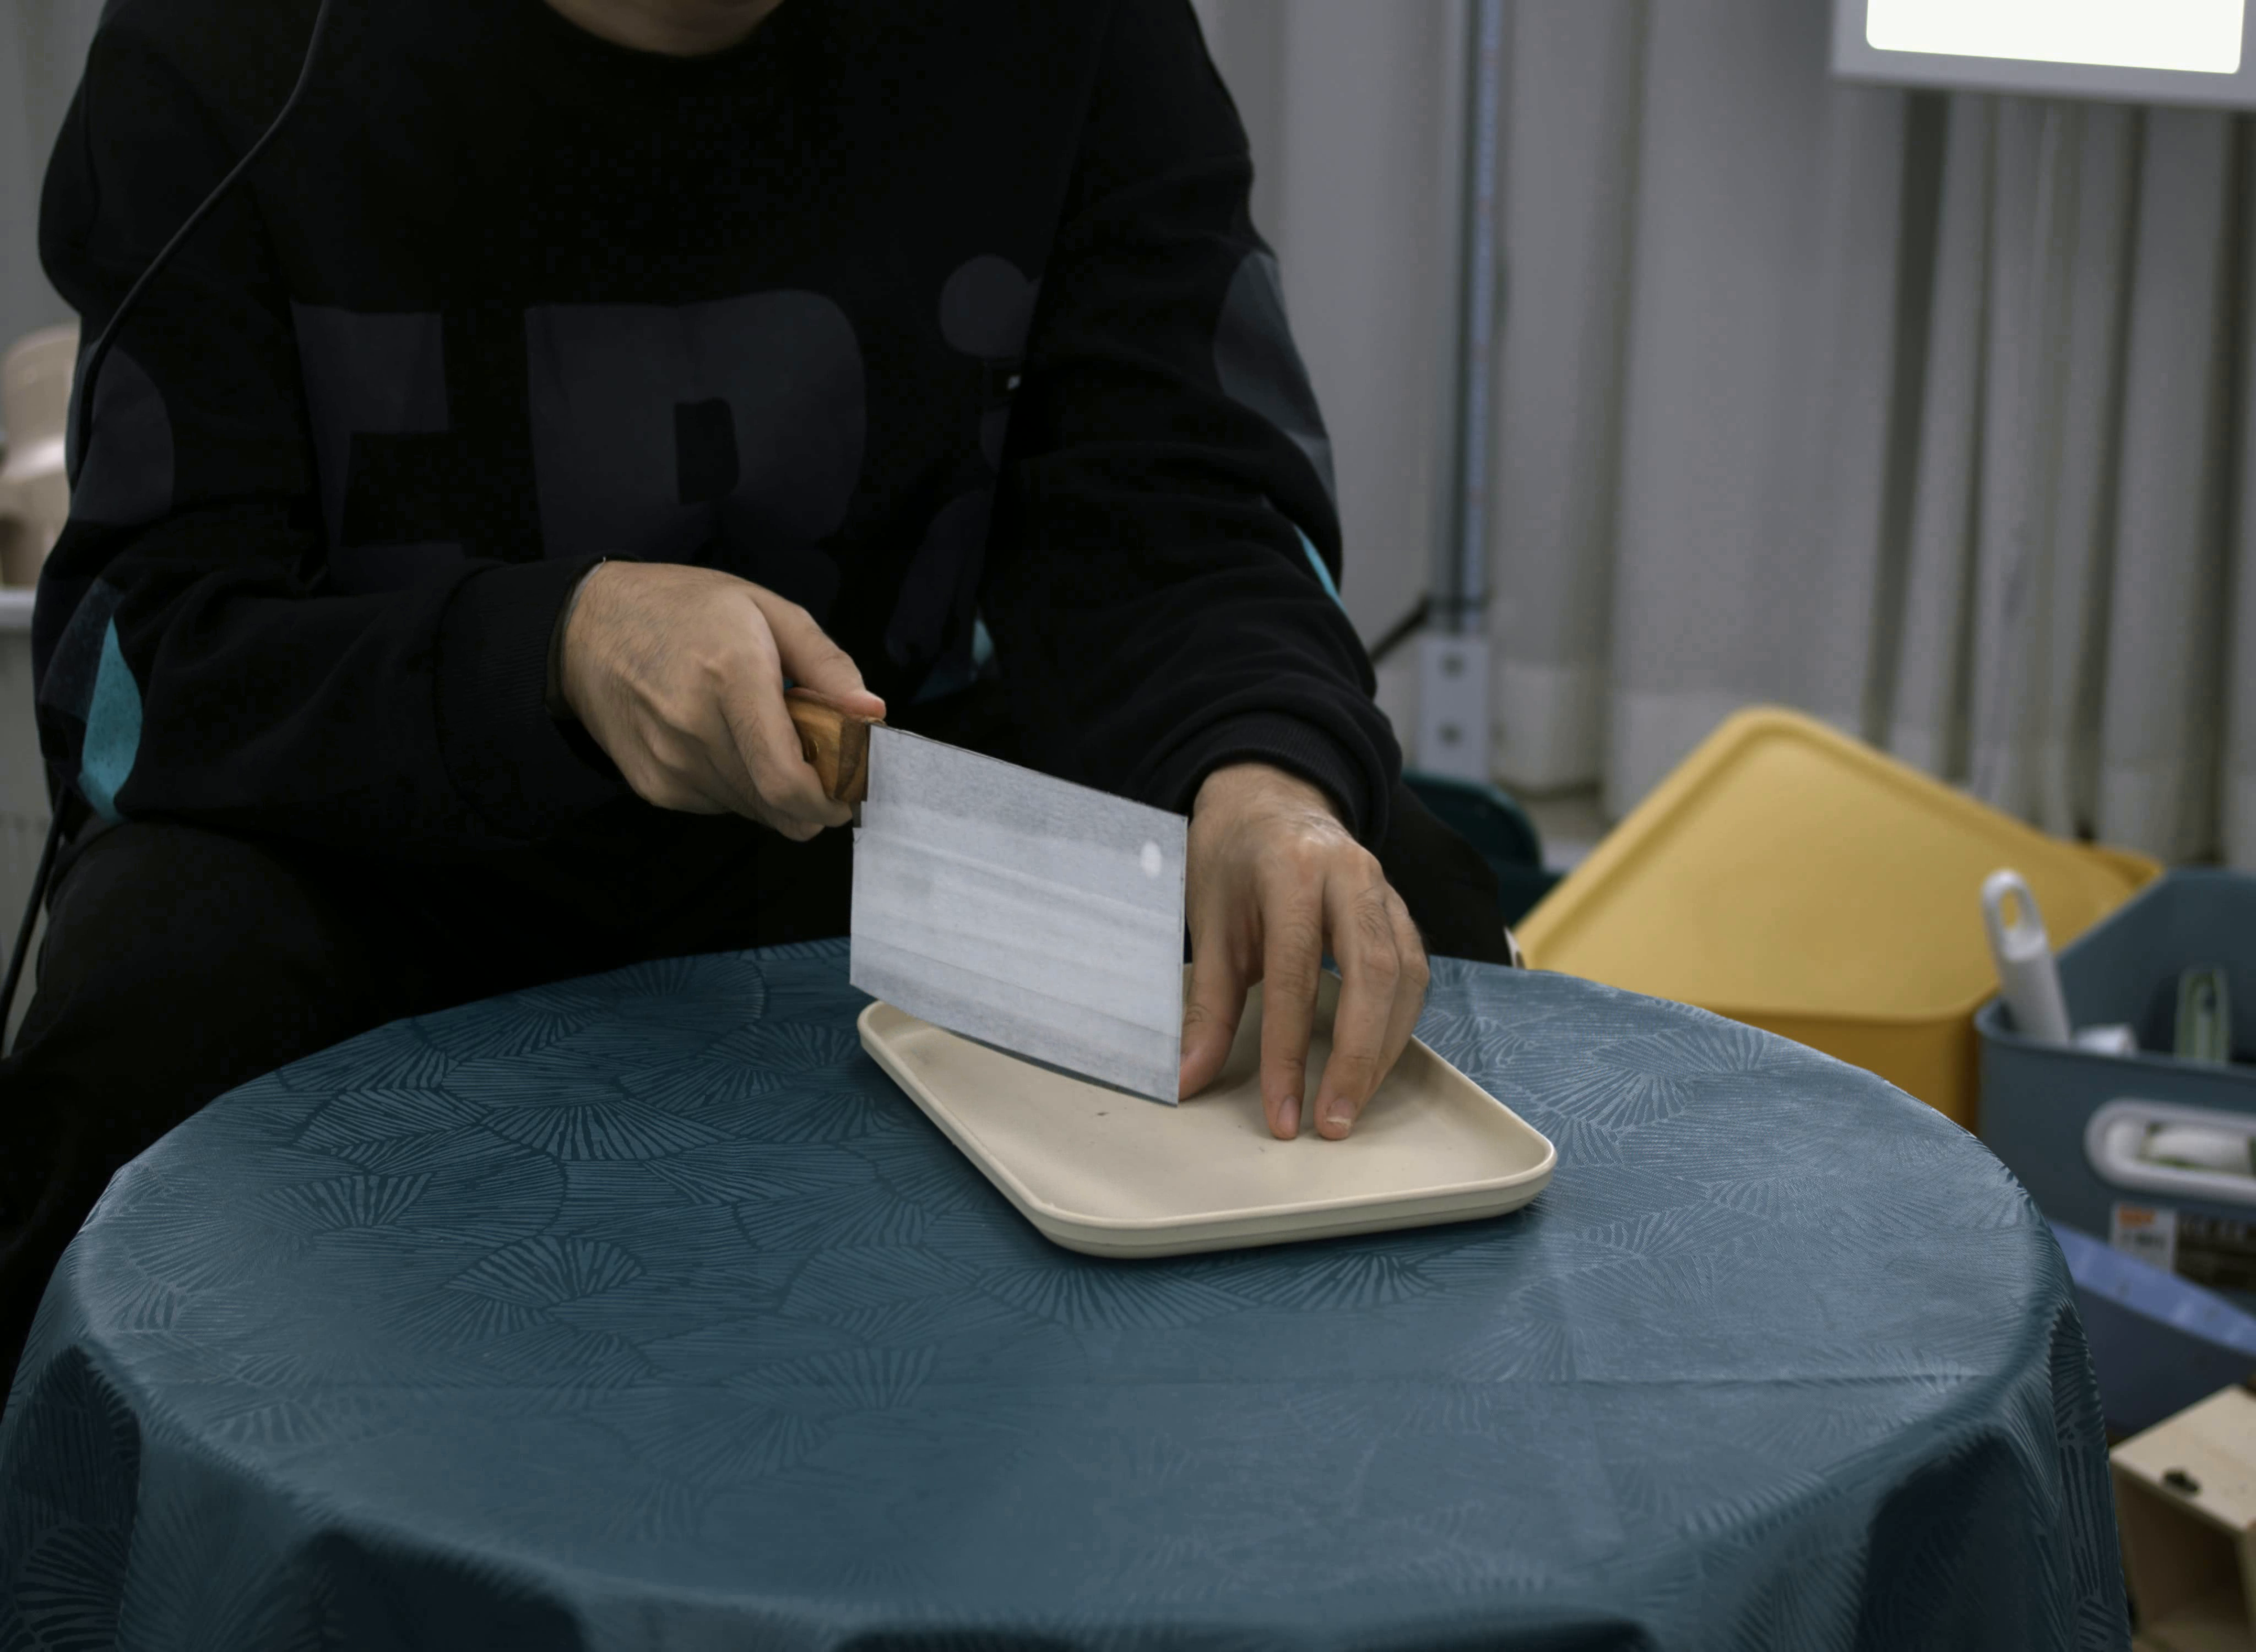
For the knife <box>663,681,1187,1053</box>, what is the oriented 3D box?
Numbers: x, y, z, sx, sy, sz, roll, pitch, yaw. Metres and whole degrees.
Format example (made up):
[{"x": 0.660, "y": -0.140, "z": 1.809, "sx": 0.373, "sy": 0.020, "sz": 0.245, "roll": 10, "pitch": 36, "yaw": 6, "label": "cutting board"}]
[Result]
[{"x": -0.068, "y": 0.013, "z": 1.674, "sx": 0.021, "sy": 0.093, "sz": 0.302, "roll": -6, "pitch": 13, "yaw": -34, "label": "knife"}]

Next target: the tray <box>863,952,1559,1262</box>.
[{"x": 0.022, "y": 0.088, "z": 1.674, "sx": 0.171, "sy": 0.017, "sz": 0.237, "roll": -6, "pitch": 17, "yaw": -18, "label": "tray"}]
